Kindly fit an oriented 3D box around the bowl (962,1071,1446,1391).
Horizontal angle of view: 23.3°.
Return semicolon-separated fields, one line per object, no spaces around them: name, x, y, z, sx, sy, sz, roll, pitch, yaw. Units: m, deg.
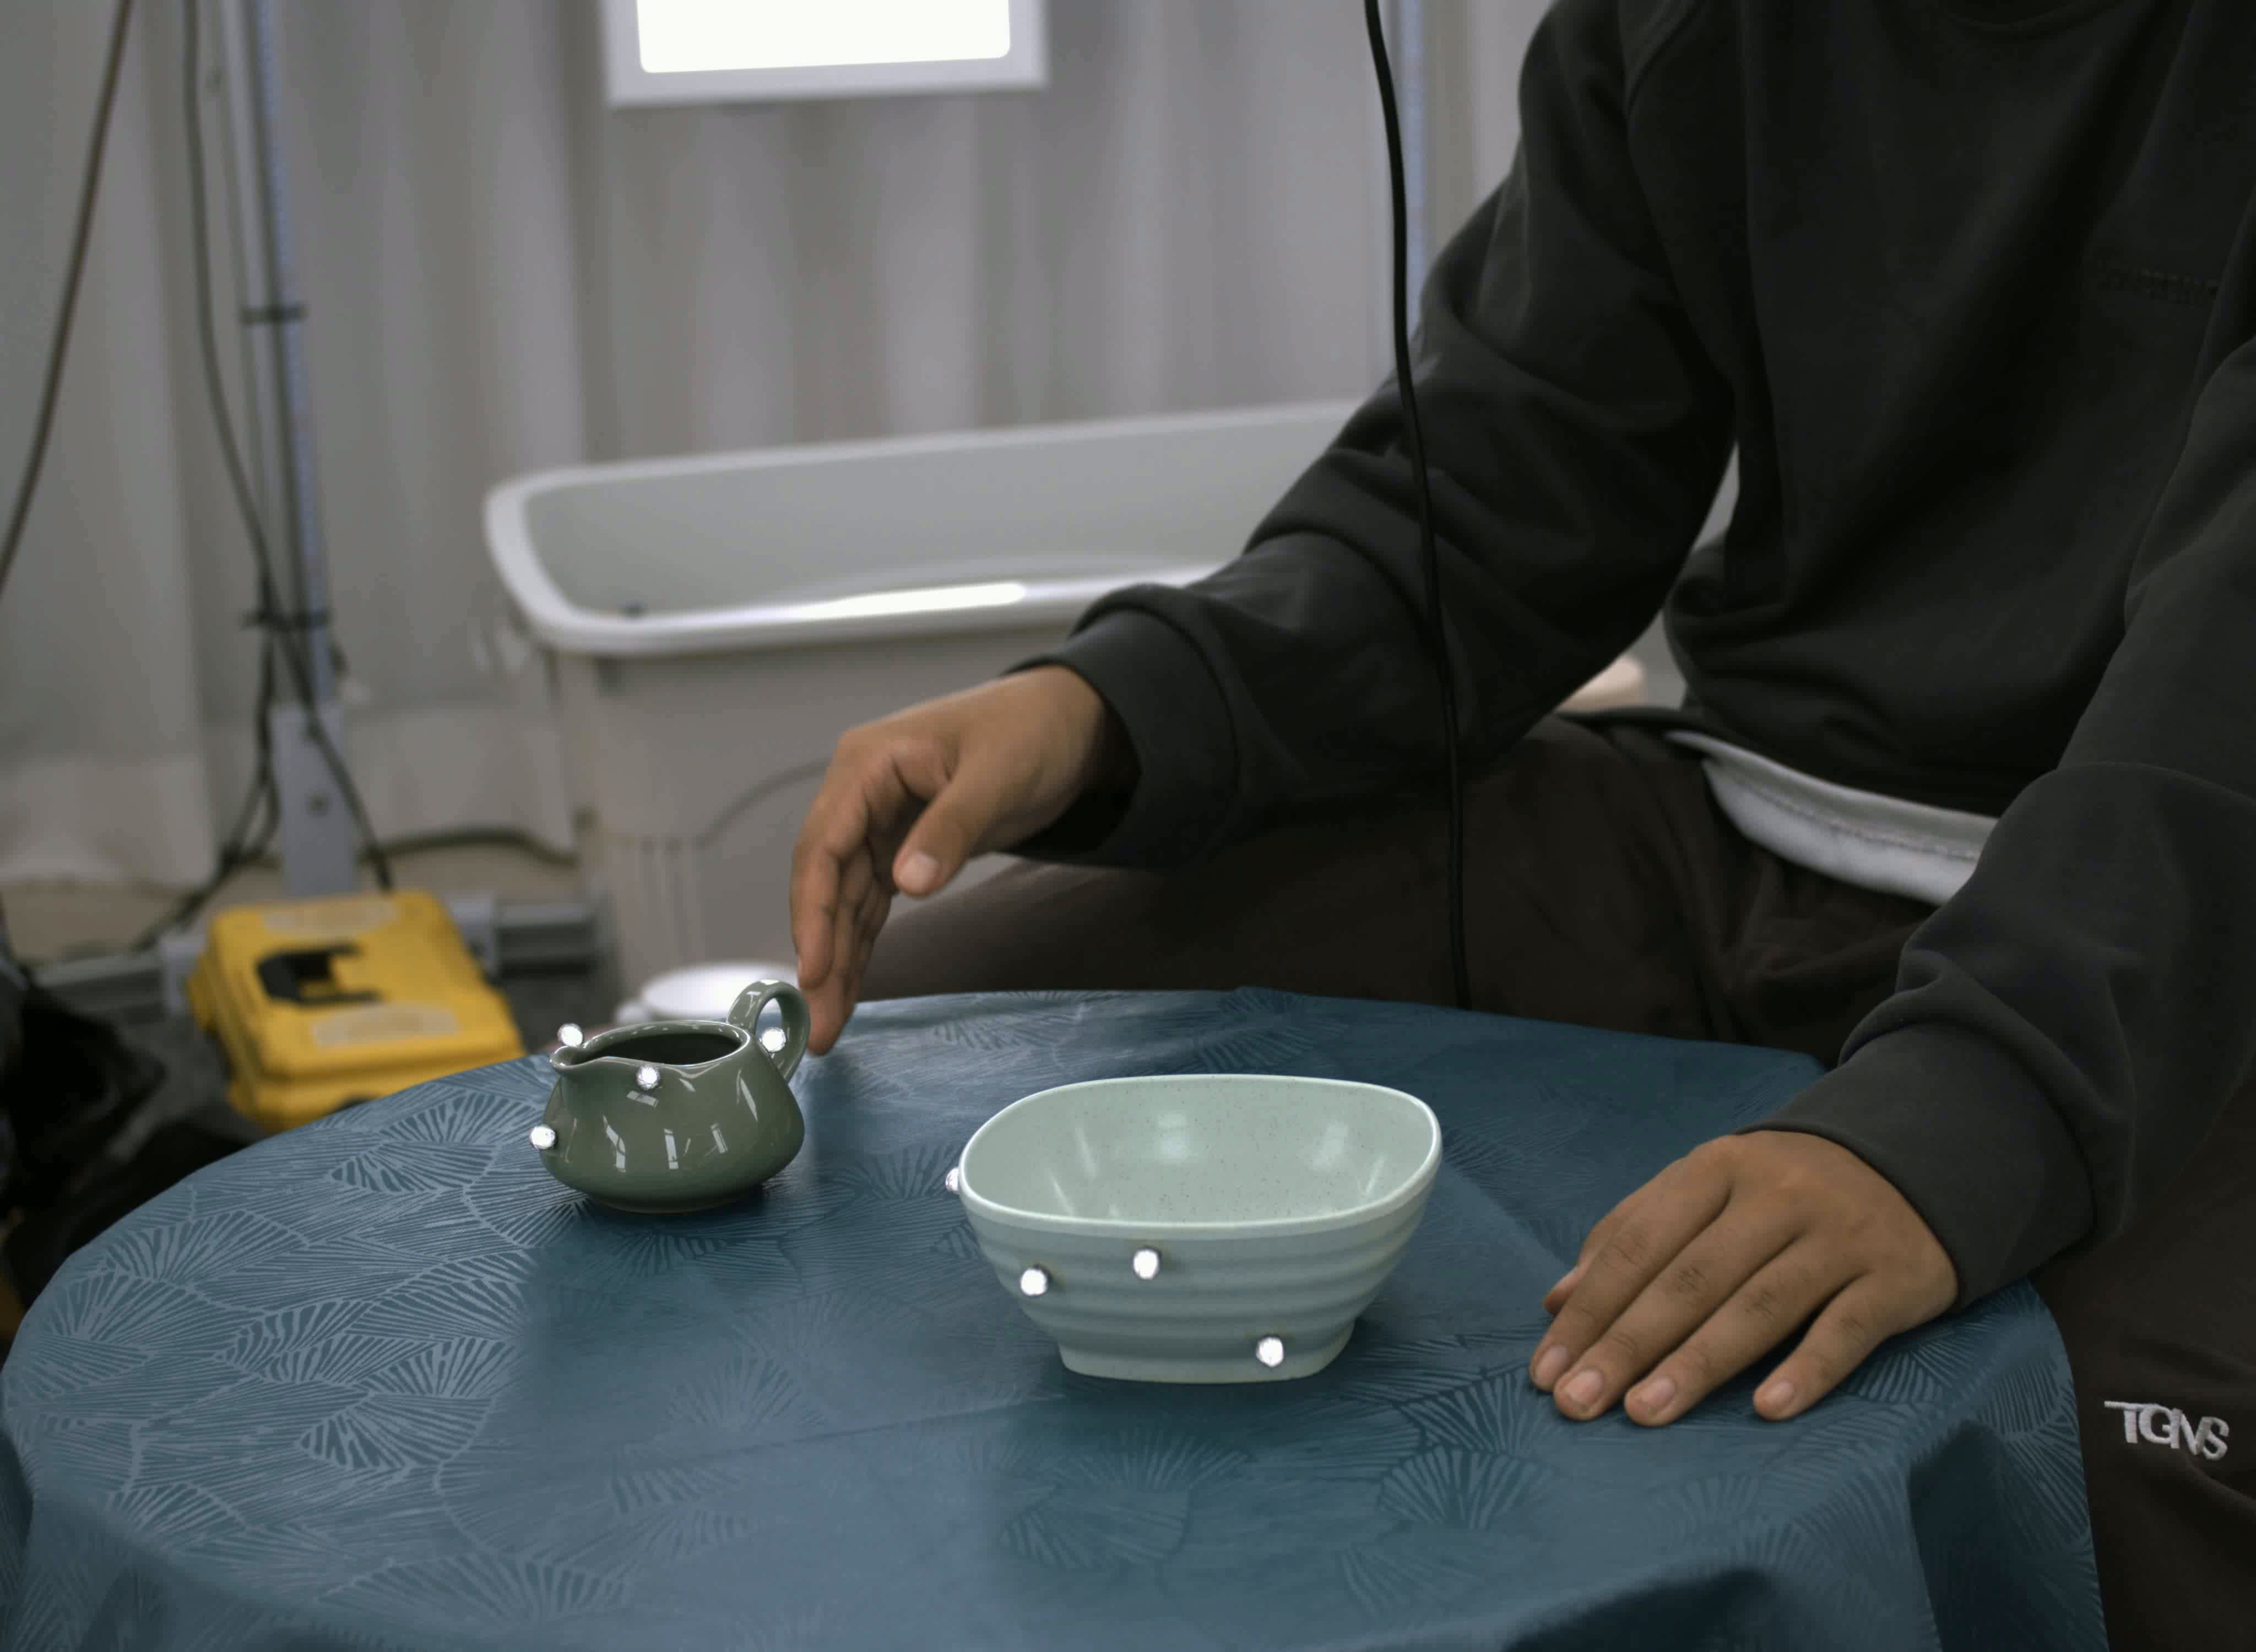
bowl;0.023;0.121;1.584;0.151;0.058;0.152;-3;16;1

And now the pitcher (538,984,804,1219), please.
pitcher;-0.141;0.088;1.739;0.084;0.056;0.112;9;18;35
